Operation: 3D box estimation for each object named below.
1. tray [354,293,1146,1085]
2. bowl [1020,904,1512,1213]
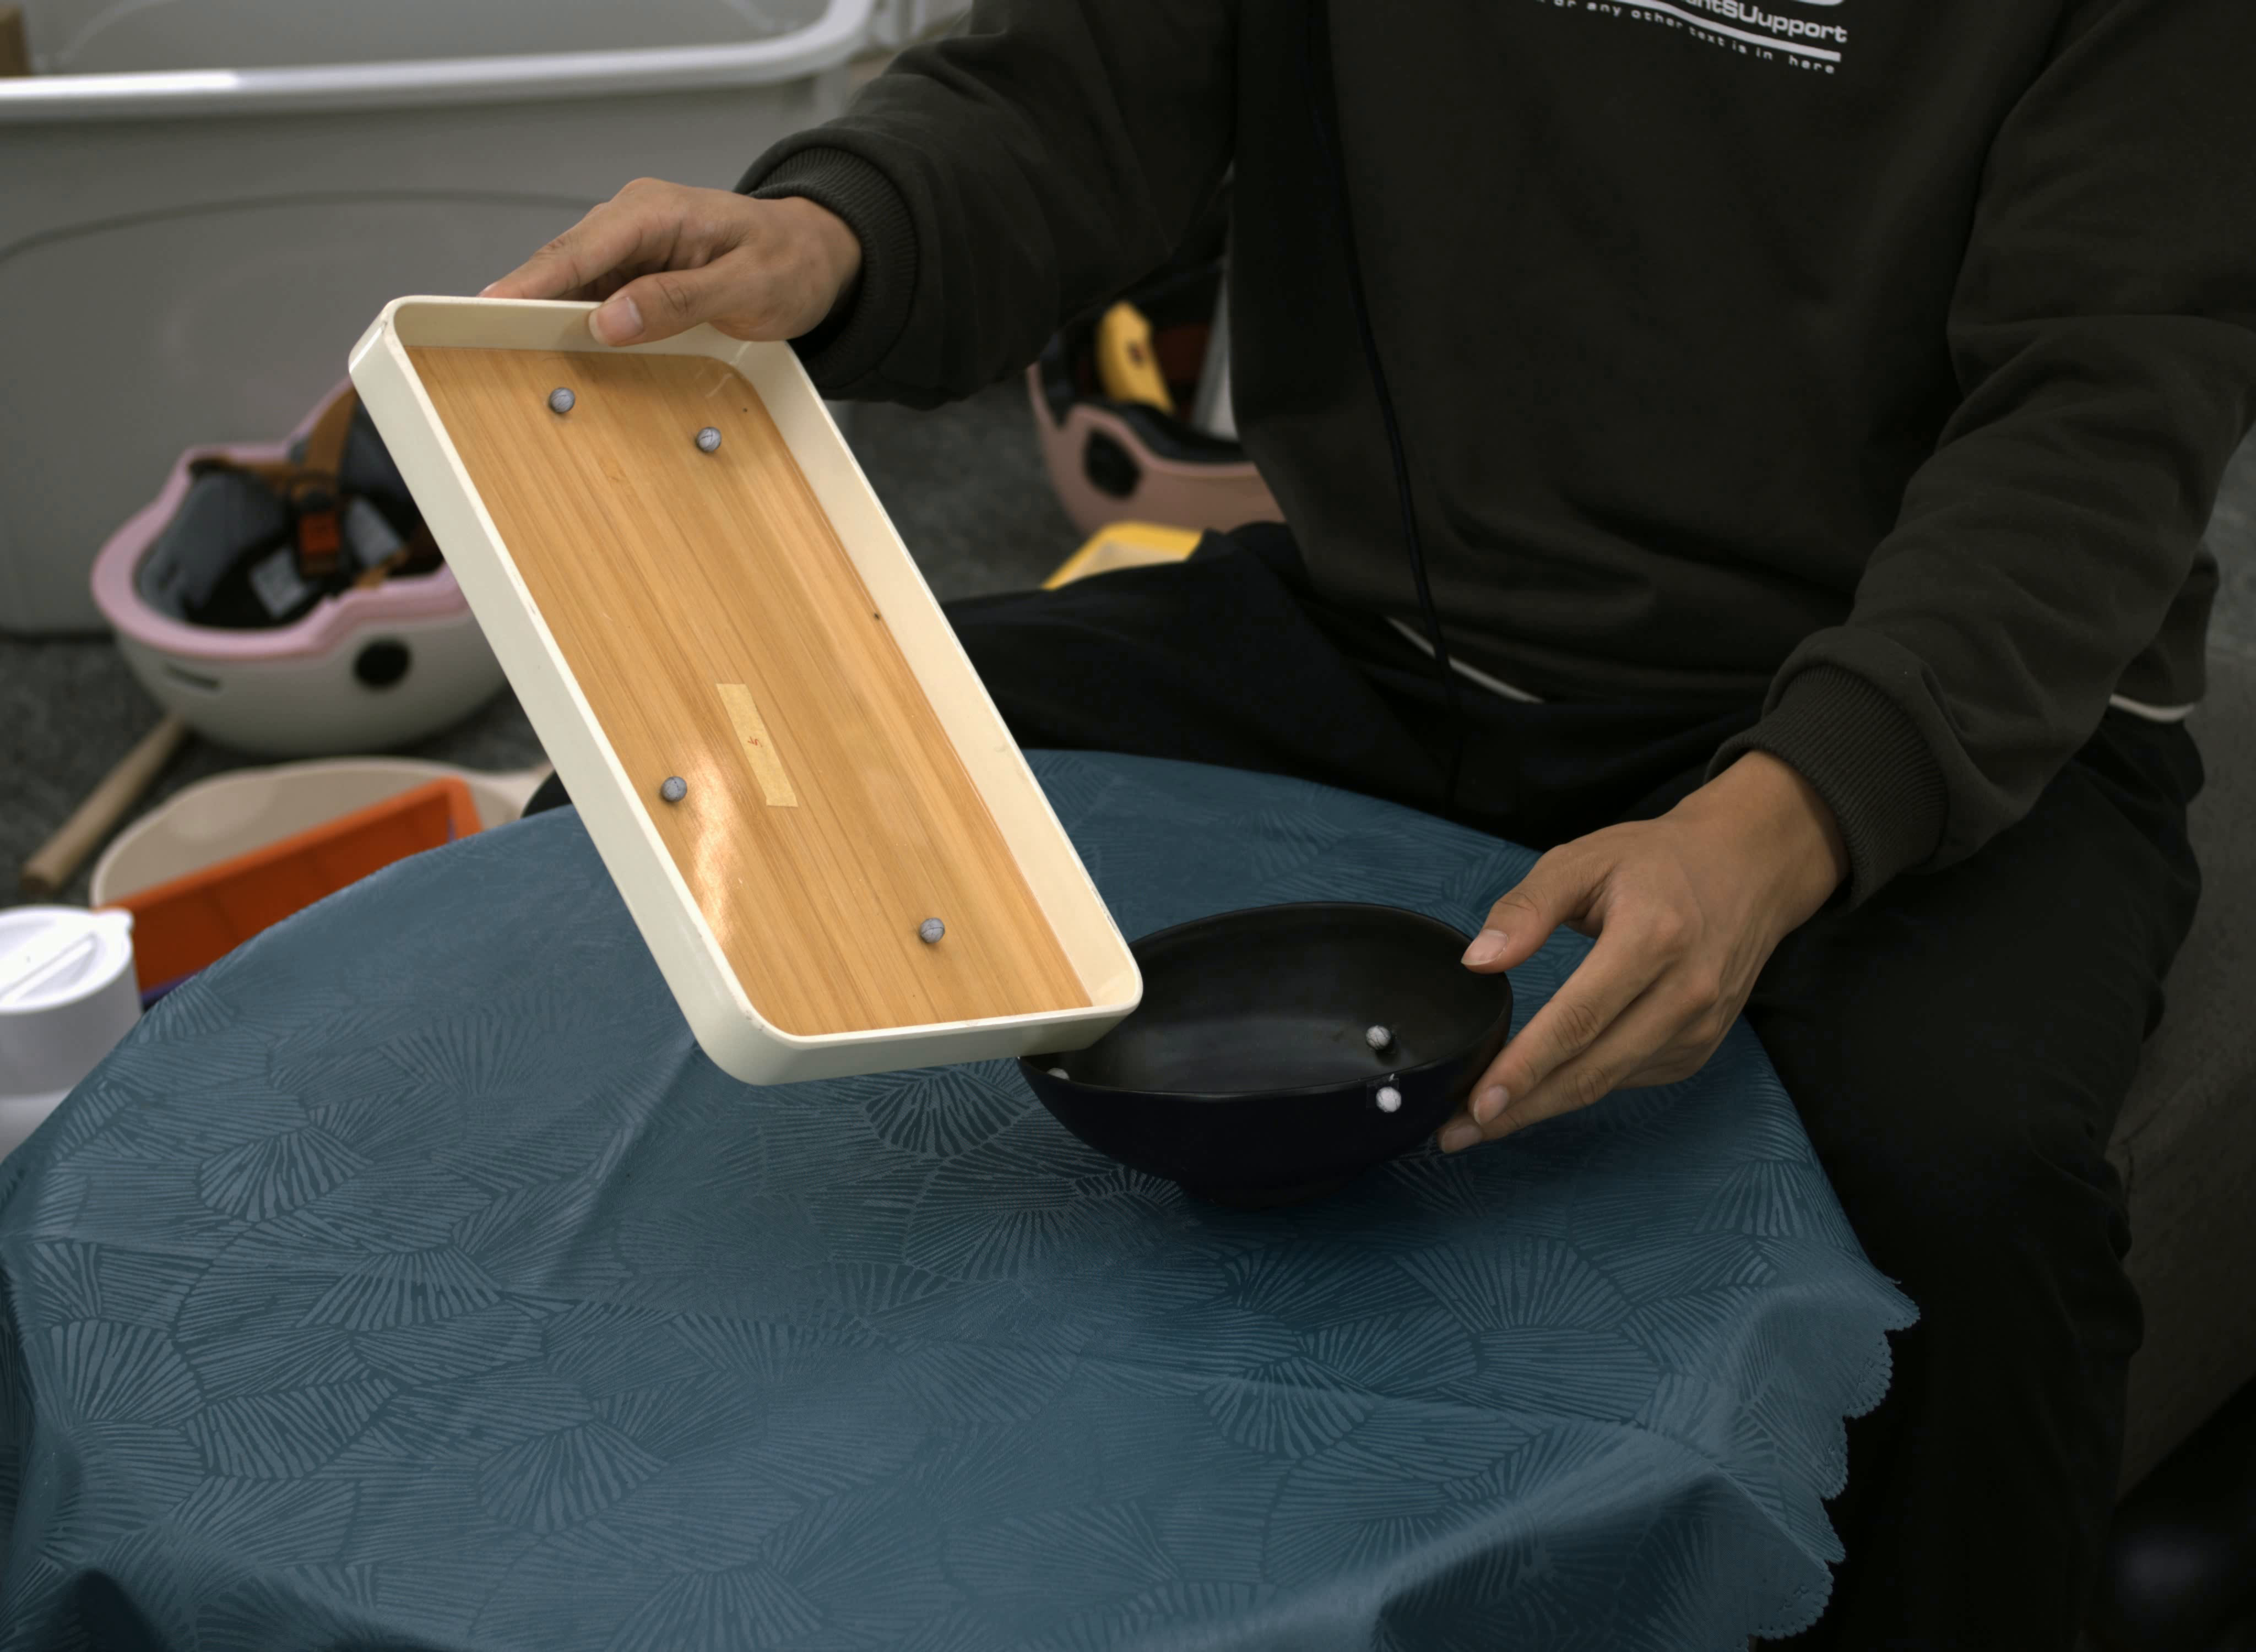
[{"bbox_3d":[-0.125,-0.050,1.868,0.192,0.027,0.303,-2,56,-49],"label":"tray"},{"bbox_3d":[0.047,0.085,1.859,0.169,0.066,0.139,-2,24,18],"label":"bowl"}]
